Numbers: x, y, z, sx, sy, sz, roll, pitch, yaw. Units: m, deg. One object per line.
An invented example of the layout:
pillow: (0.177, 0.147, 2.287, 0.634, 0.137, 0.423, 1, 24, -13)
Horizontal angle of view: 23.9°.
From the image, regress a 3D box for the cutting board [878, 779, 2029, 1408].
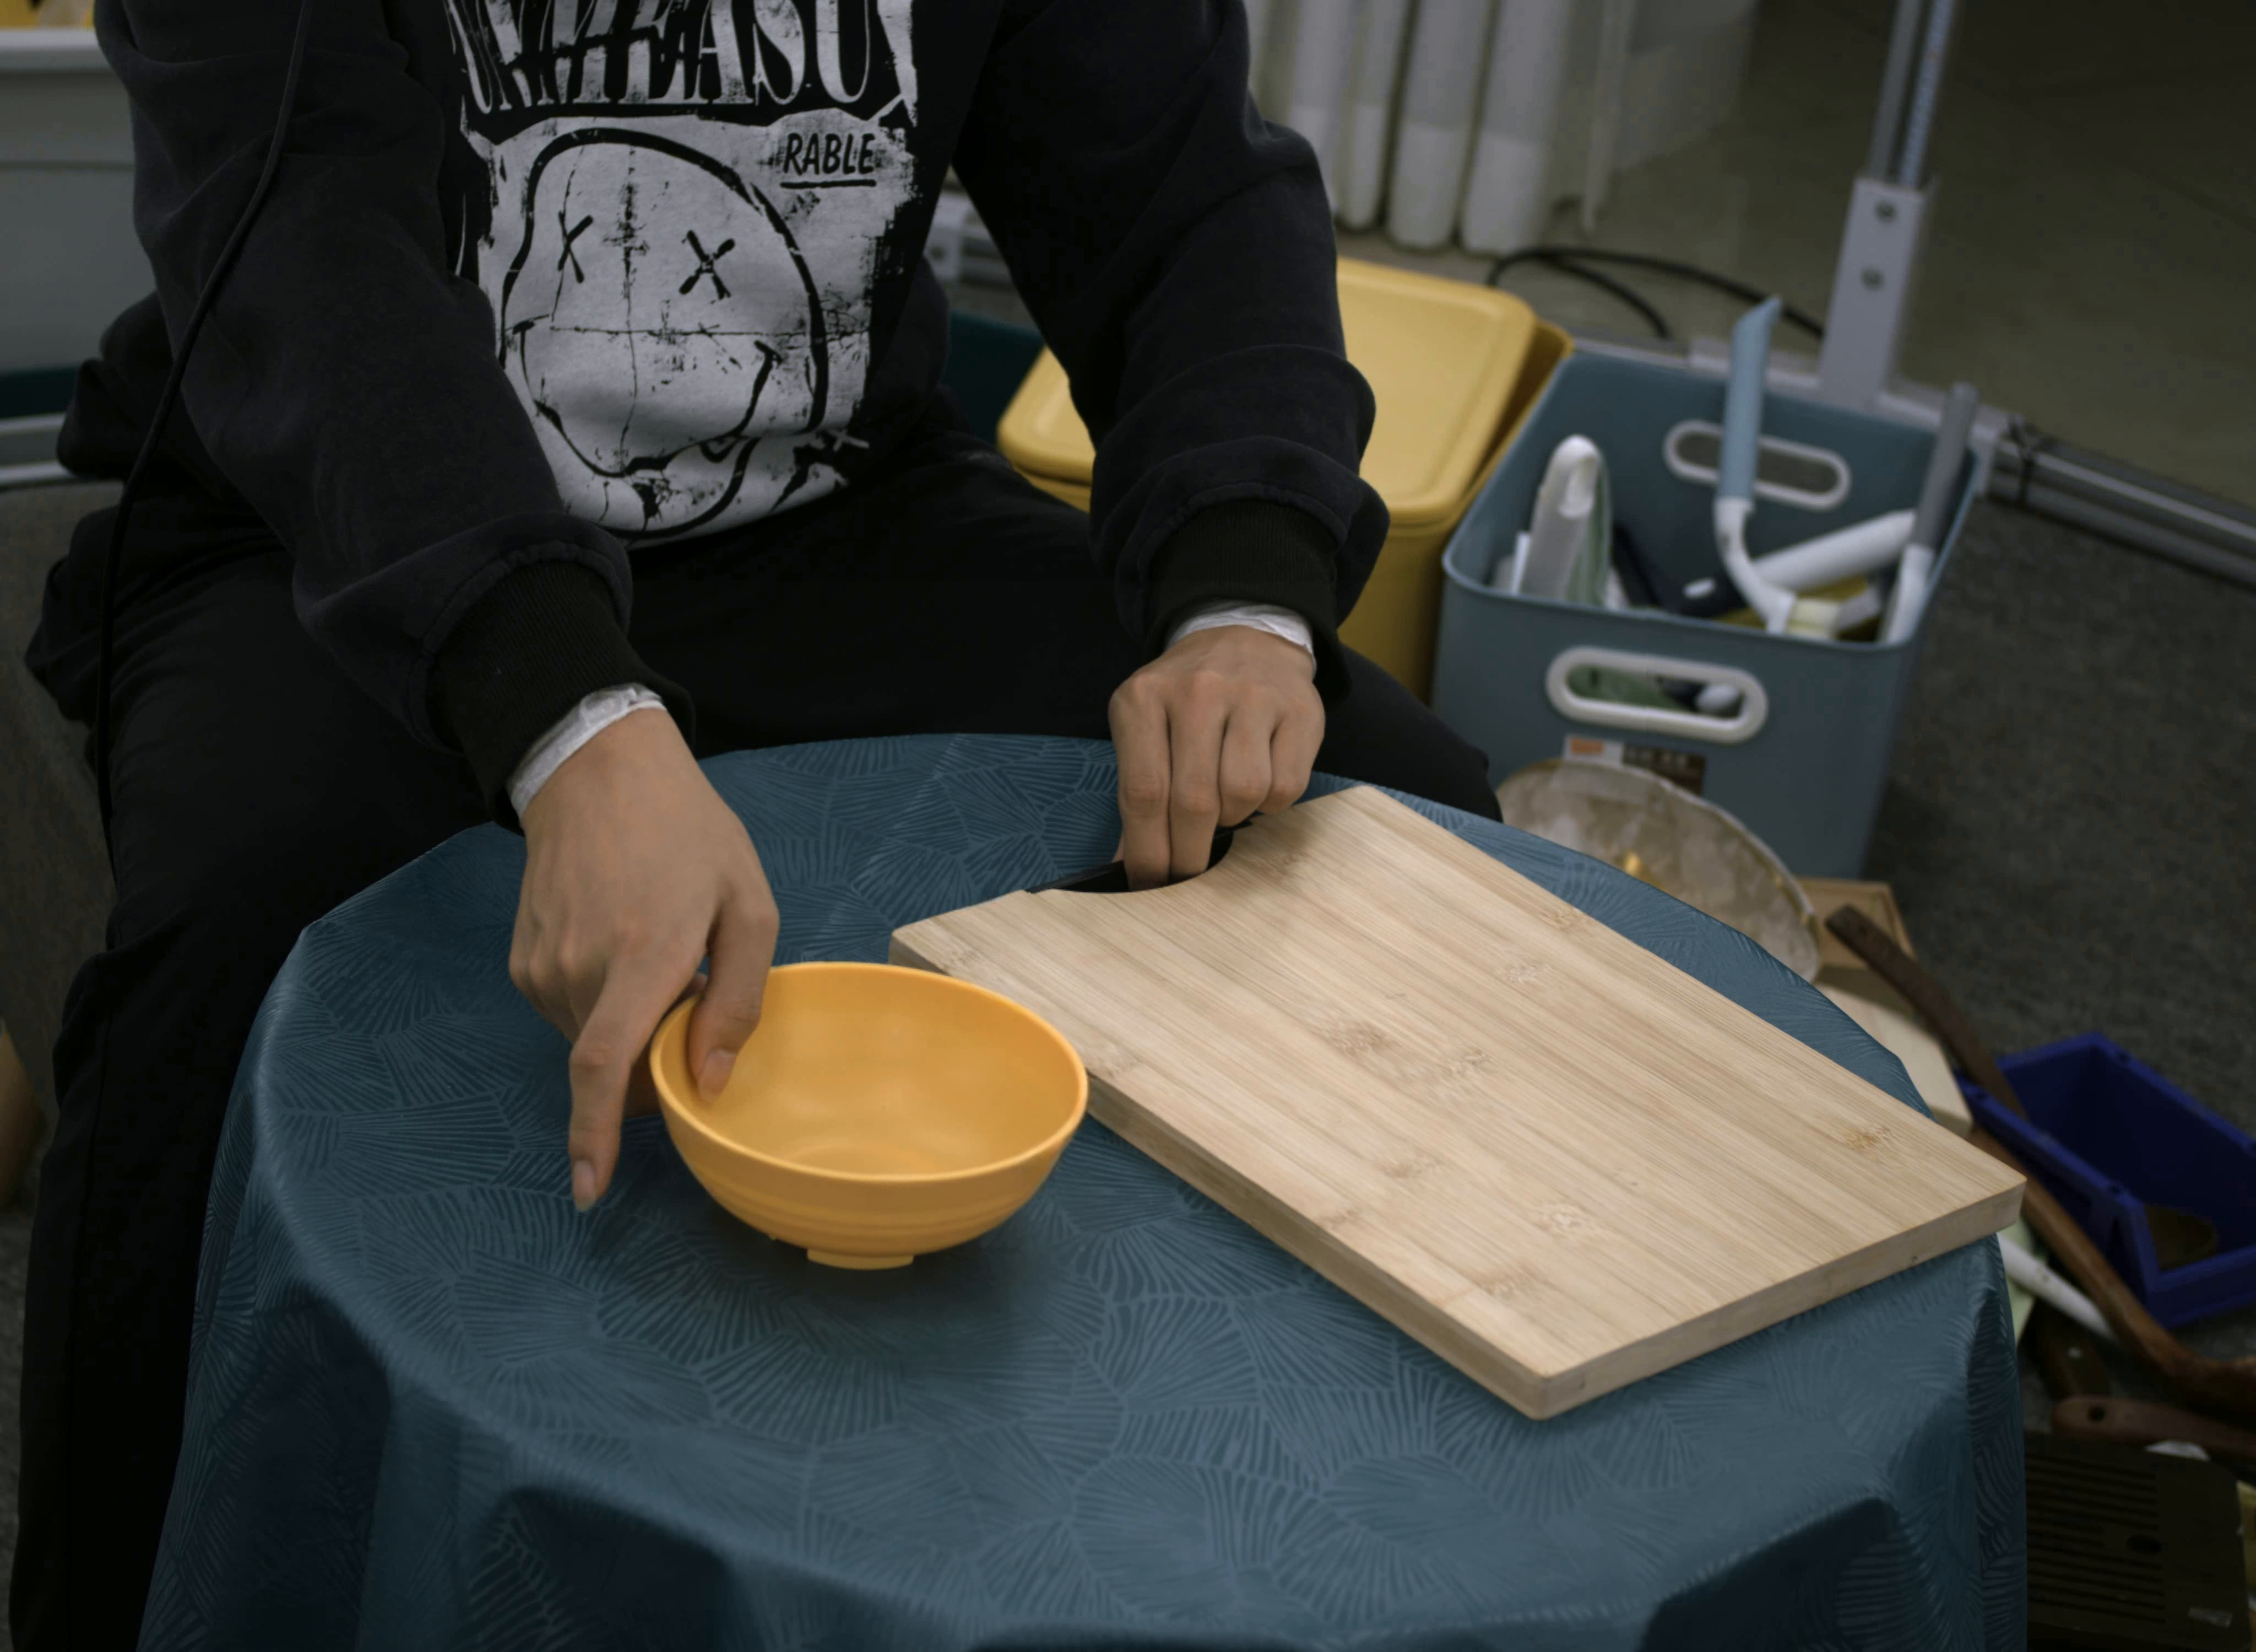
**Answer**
cutting board: (0.110, 0.086, 1.881, 0.249, 0.023, 0.351, -17, 35, -39)

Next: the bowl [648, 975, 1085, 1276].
bowl: (-0.089, 0.107, 1.752, 0.145, 0.060, 0.146, 6, 24, -3)
